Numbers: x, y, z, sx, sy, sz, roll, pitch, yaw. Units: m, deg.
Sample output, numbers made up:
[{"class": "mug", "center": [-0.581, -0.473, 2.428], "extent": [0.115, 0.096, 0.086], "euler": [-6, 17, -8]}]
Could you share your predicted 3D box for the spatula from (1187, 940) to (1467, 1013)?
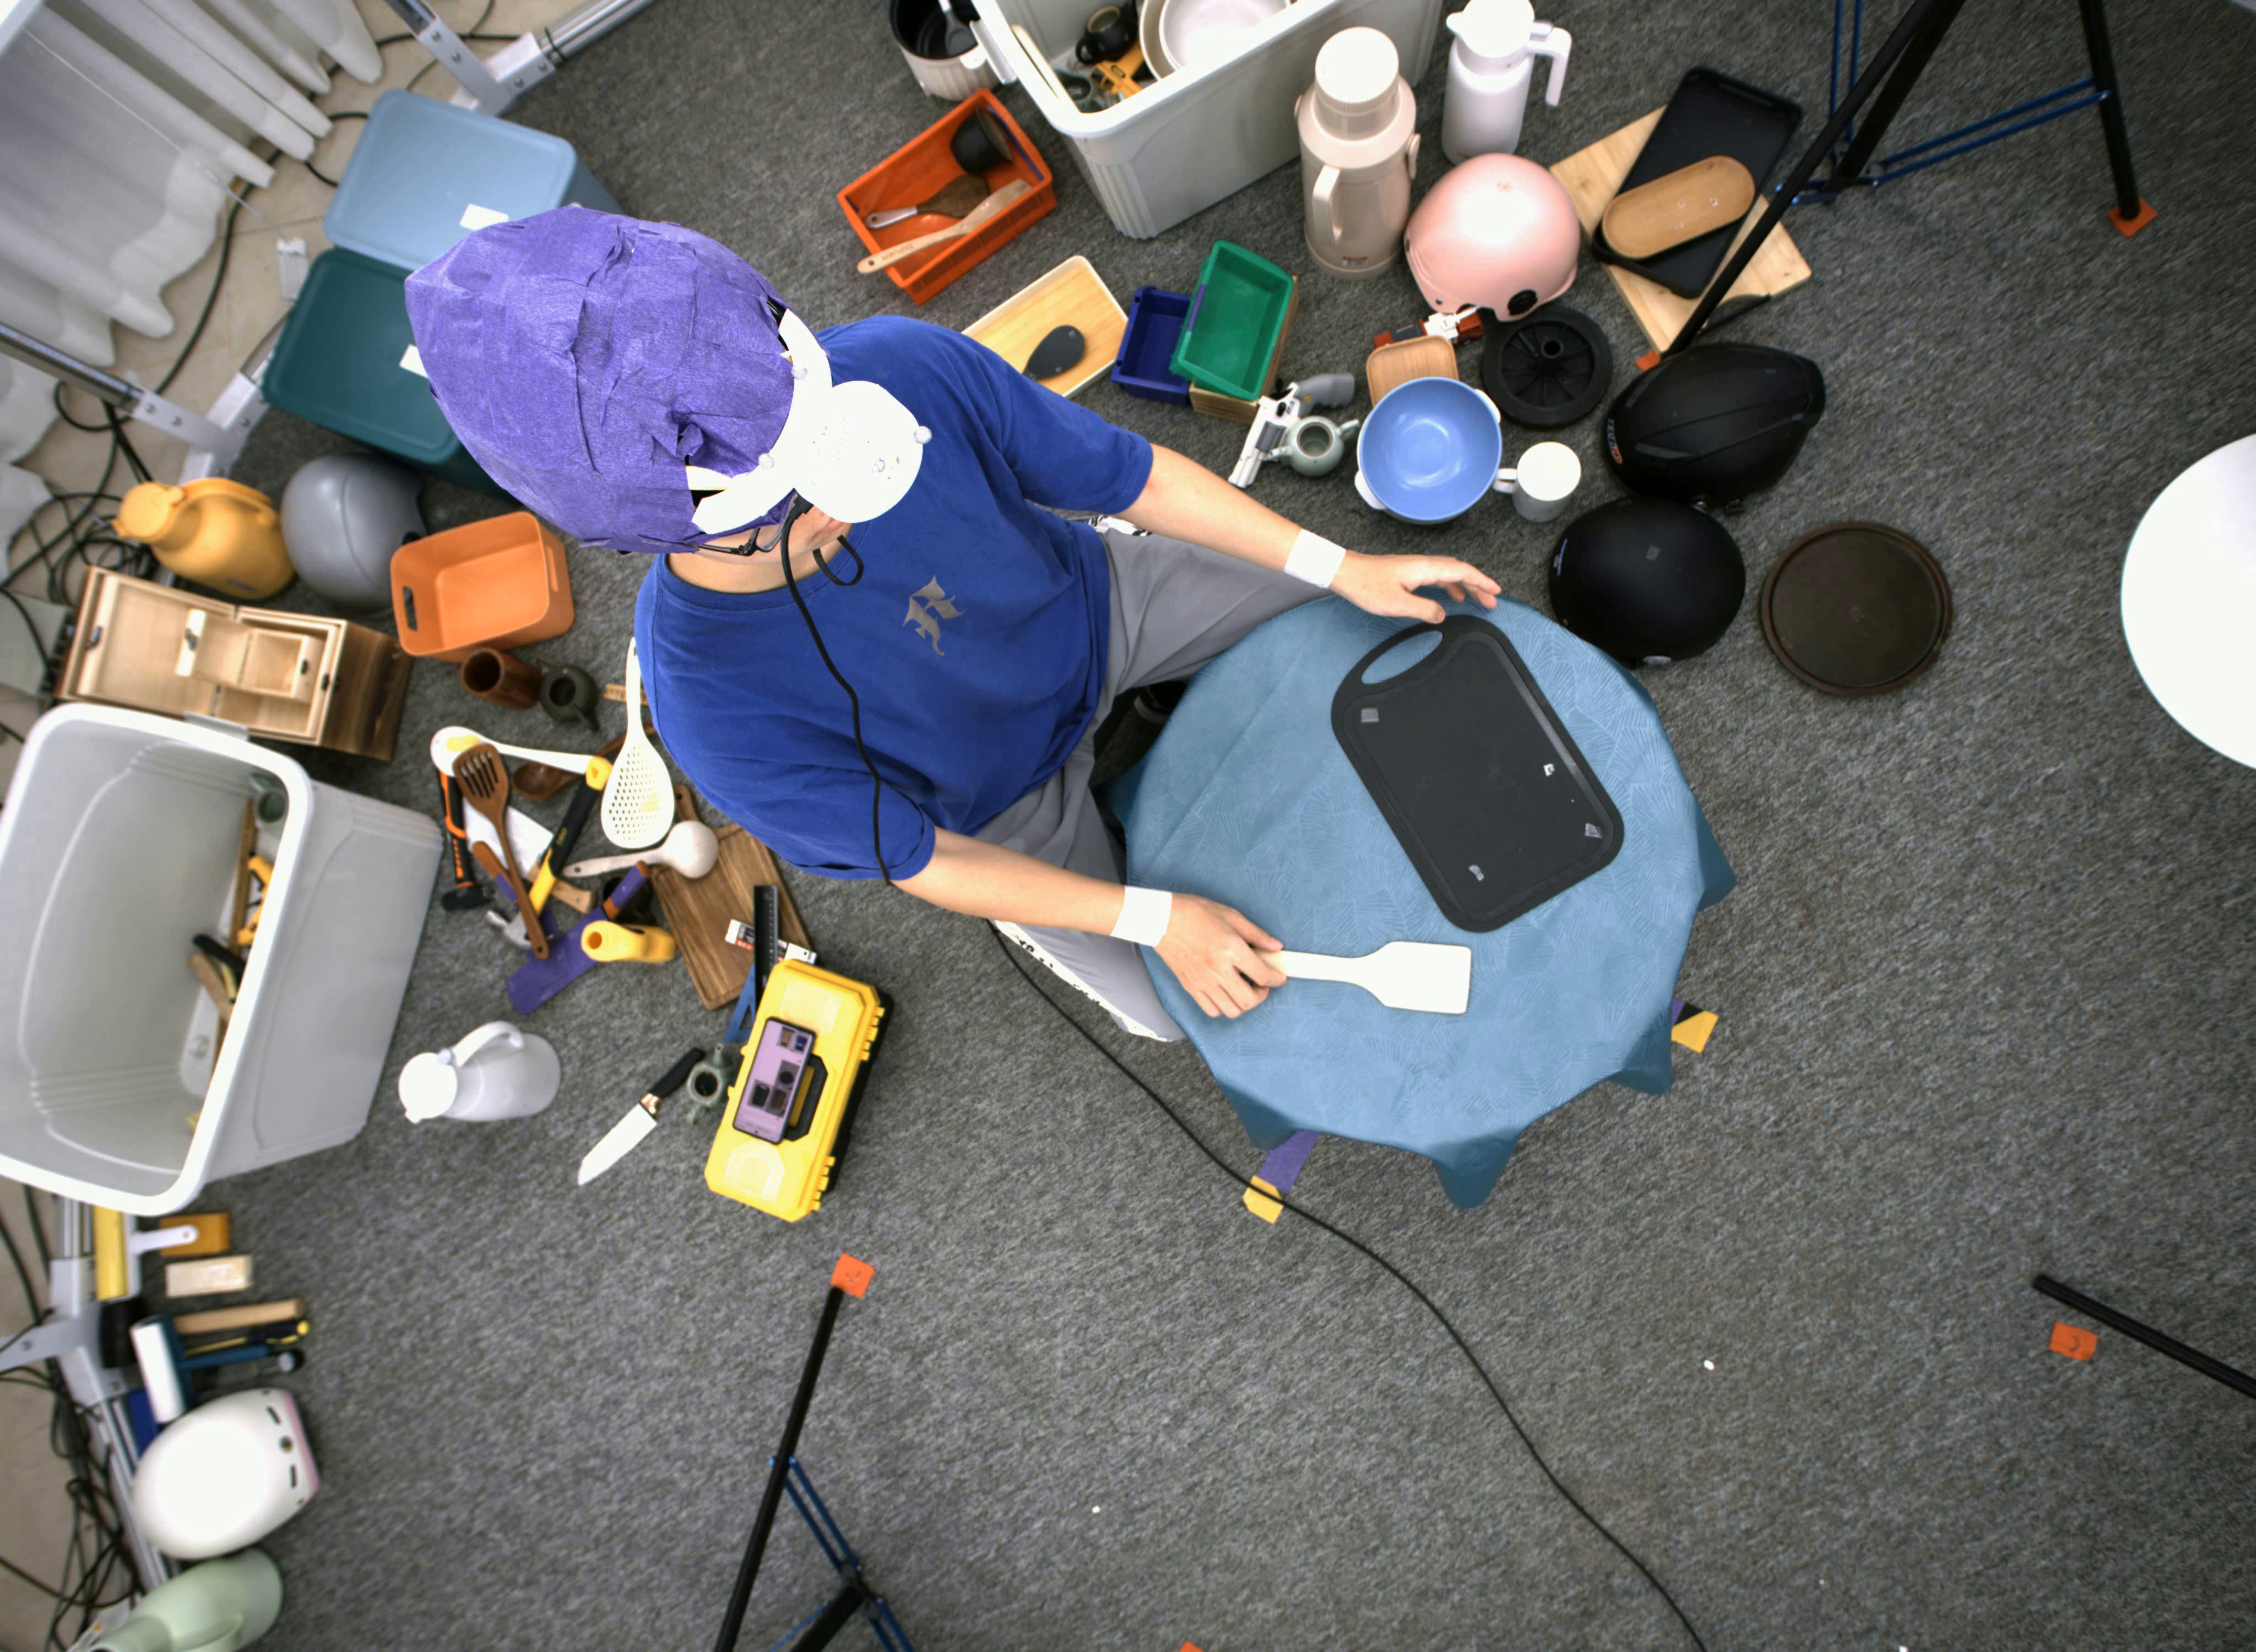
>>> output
[{"class": "spatula", "center": [0.207, 0.148, 1.461], "extent": [0.294, 0.010, 0.072], "euler": [4, 89, 10]}]

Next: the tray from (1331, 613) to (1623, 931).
[{"class": "tray", "center": [0.360, -0.067, 1.444], "extent": [0.212, 0.010, 0.323], "euler": [-30, 82, 8]}]
